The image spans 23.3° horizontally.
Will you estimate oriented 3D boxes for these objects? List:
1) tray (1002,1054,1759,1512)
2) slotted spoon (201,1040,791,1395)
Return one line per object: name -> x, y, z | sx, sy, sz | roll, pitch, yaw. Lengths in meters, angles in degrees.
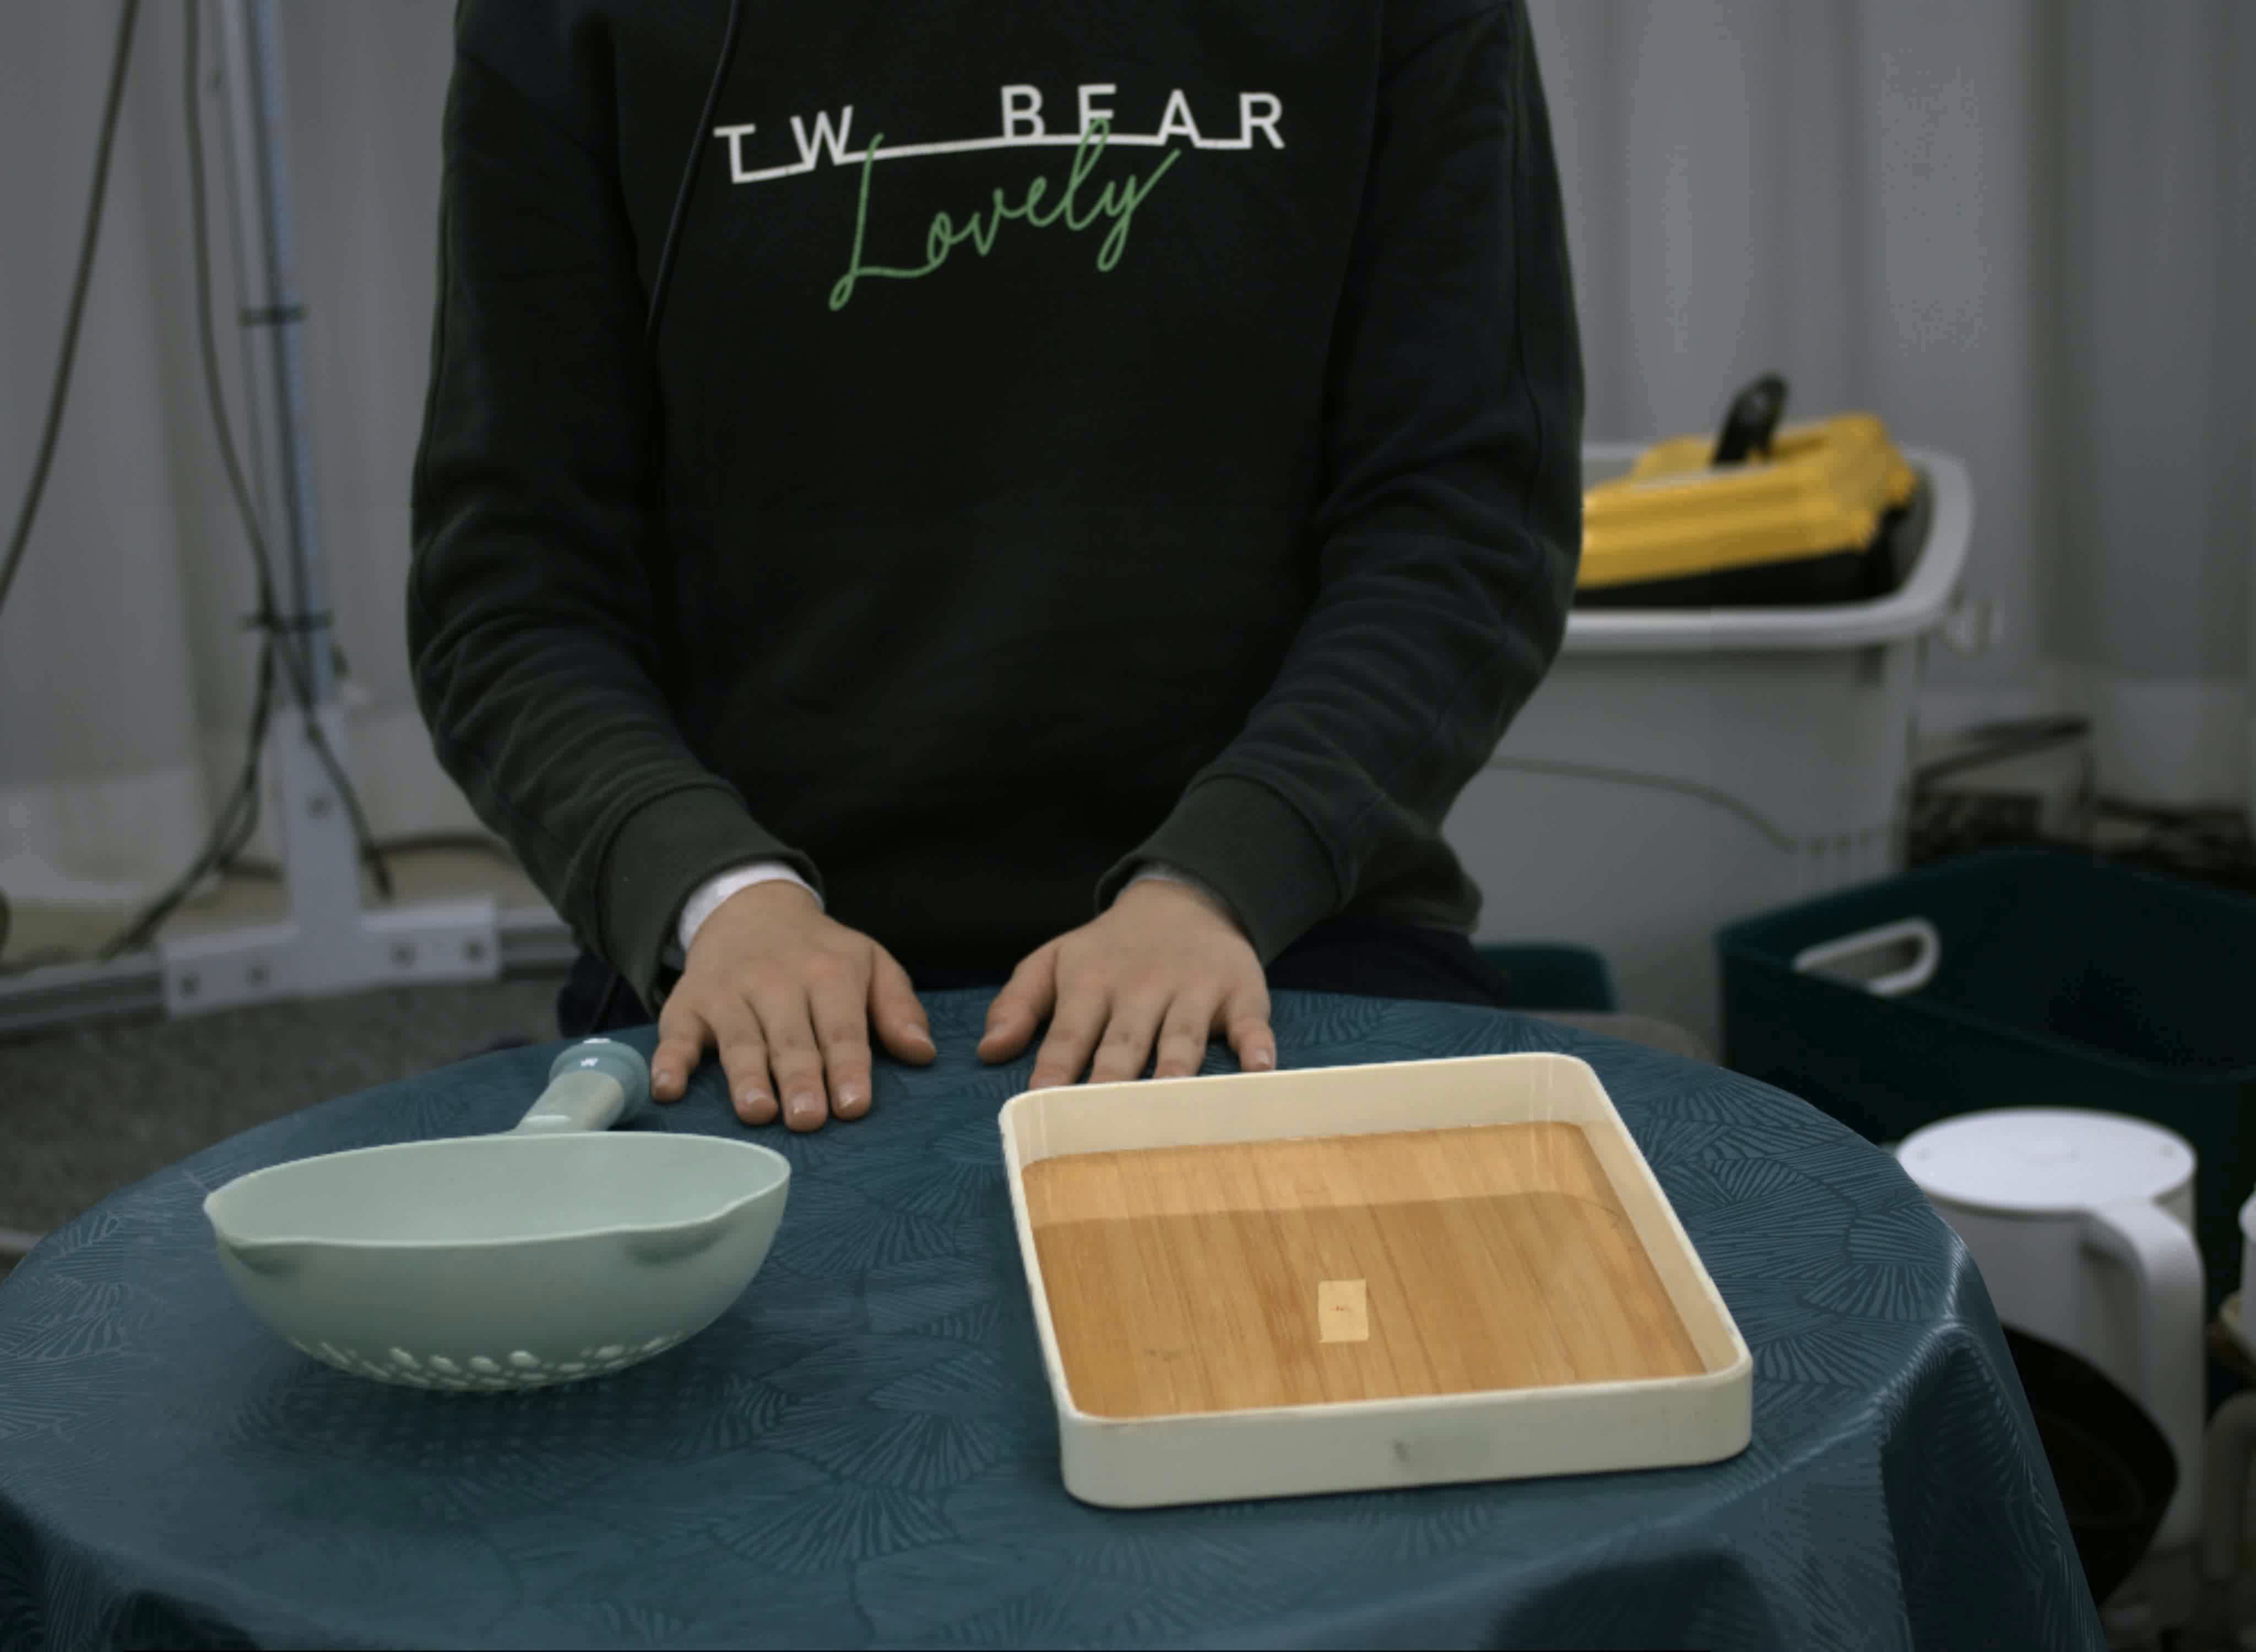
tray -> 0.066, 0.129, 1.600 | 0.191, 0.027, 0.302 | -4, 15, -4
slotted spoon -> -0.177, 0.103, 1.667 | 0.169, 0.075, 0.361 | -2, 15, 2
